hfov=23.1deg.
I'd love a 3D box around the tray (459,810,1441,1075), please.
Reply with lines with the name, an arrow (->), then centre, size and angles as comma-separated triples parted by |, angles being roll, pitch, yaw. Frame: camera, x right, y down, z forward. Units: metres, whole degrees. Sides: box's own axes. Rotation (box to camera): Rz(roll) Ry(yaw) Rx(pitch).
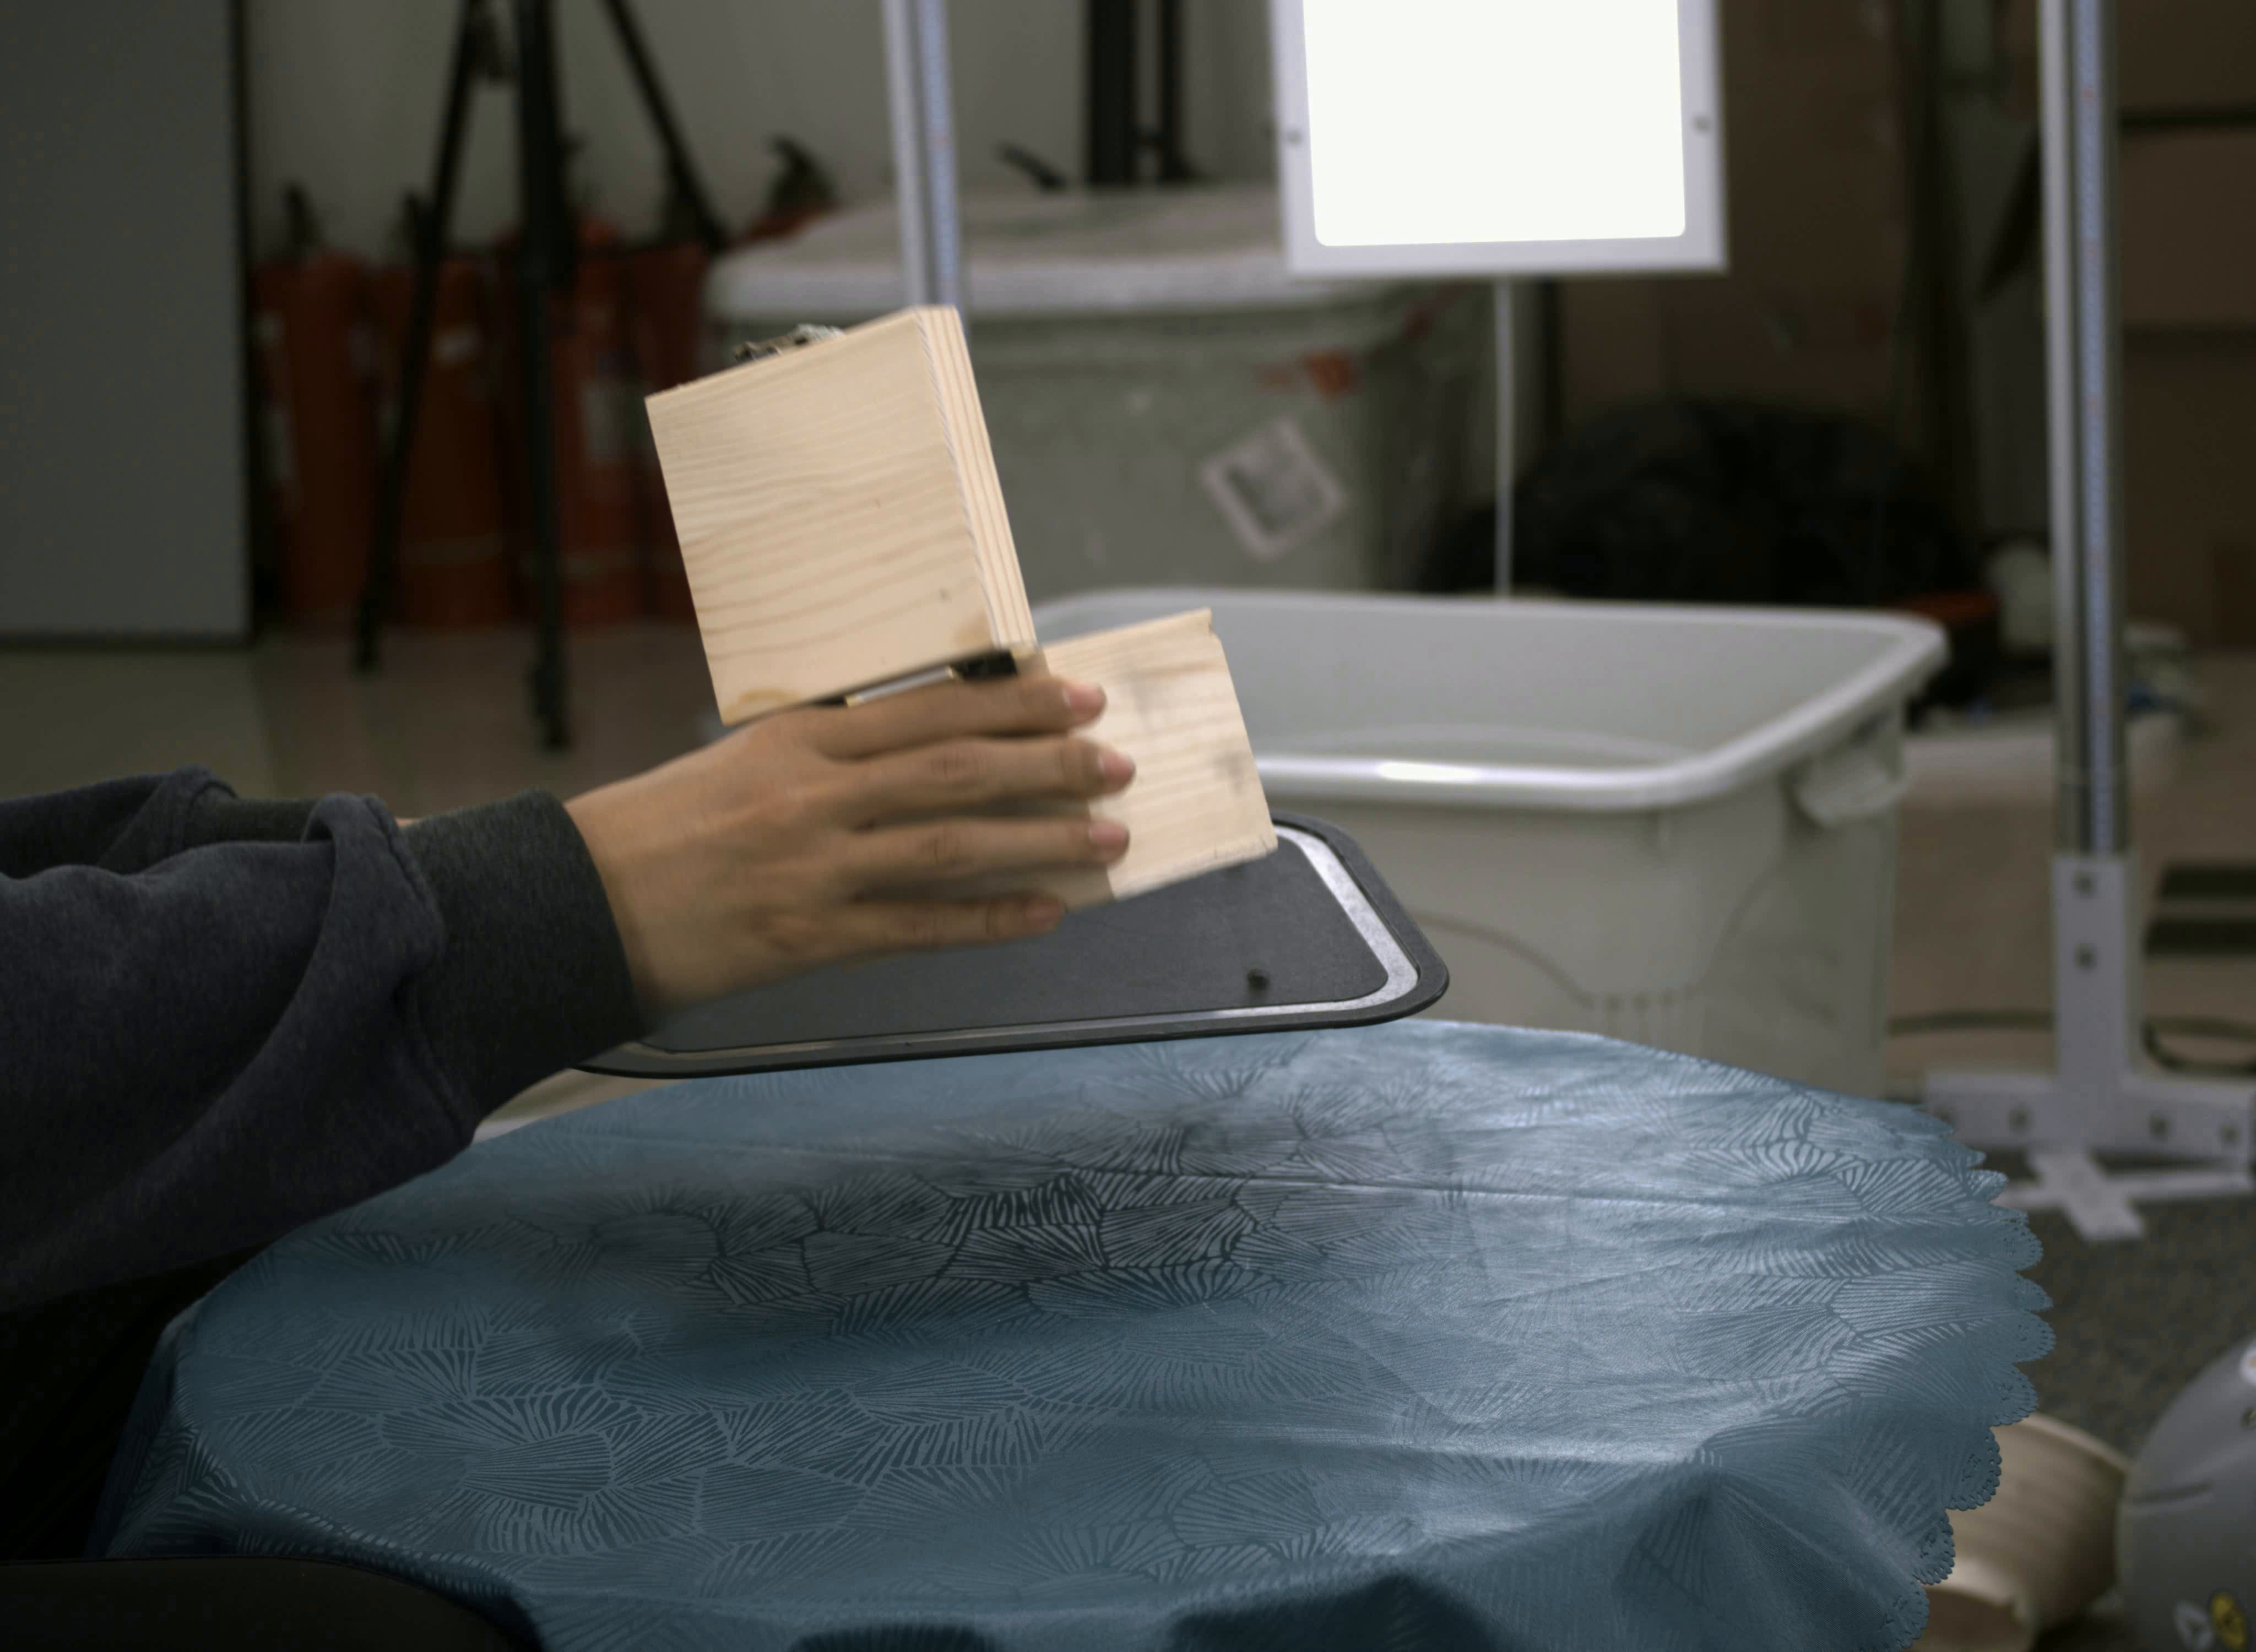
tray -> -0.065, 0.036, 1.877 | 0.322, 0.010, 0.212 | -4, 20, -8

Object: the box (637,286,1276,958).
box -> -0.050, -0.066, 1.653 | 0.105, 0.185, 0.131 | -16, 0, 33
